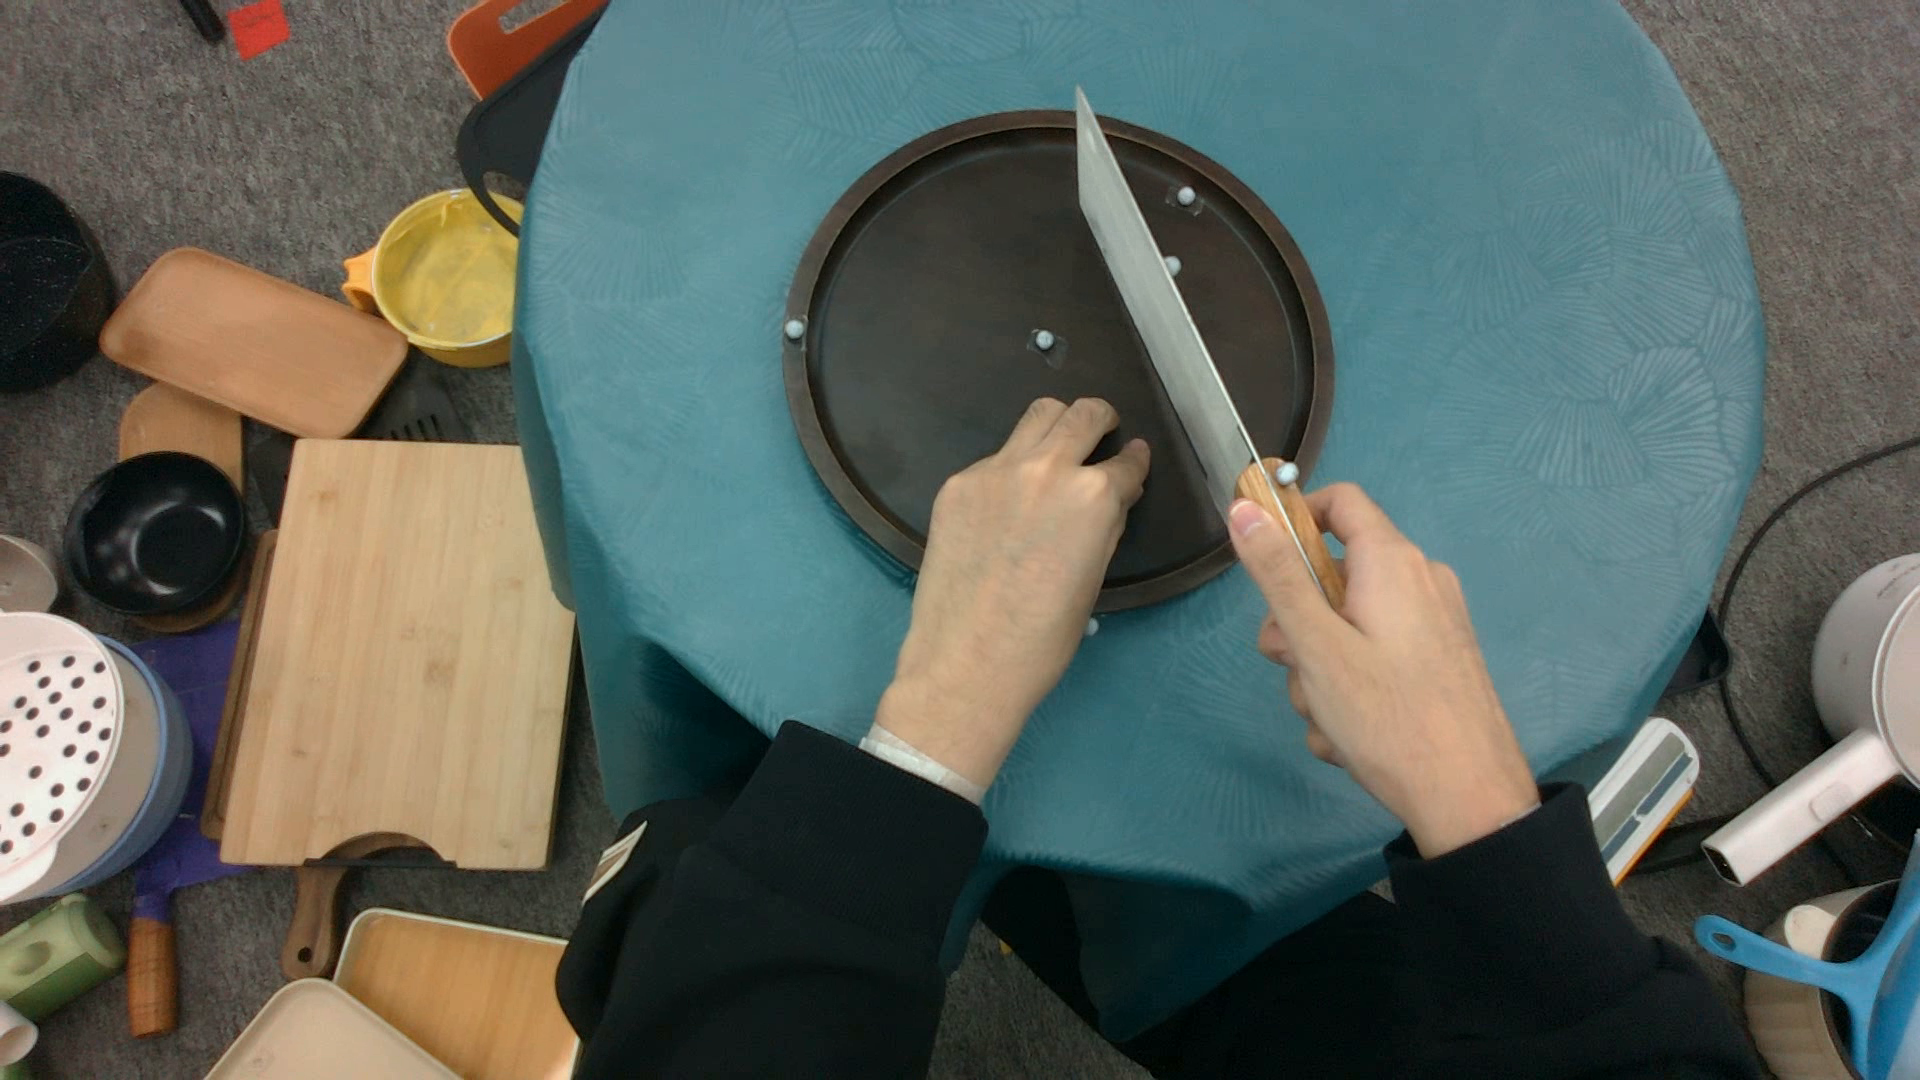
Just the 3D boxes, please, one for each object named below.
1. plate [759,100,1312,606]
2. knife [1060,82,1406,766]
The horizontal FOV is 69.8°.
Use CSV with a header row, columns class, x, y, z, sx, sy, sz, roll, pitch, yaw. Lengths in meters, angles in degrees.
class,x,y,z,sx,sy,sz,roll,pitch,yaw
plate,0.036,-0.091,0.632,0.255,0.029,0.255,1,71,-3
knife,0.099,-0.047,0.562,0.021,0.092,0.306,-20,71,-3
